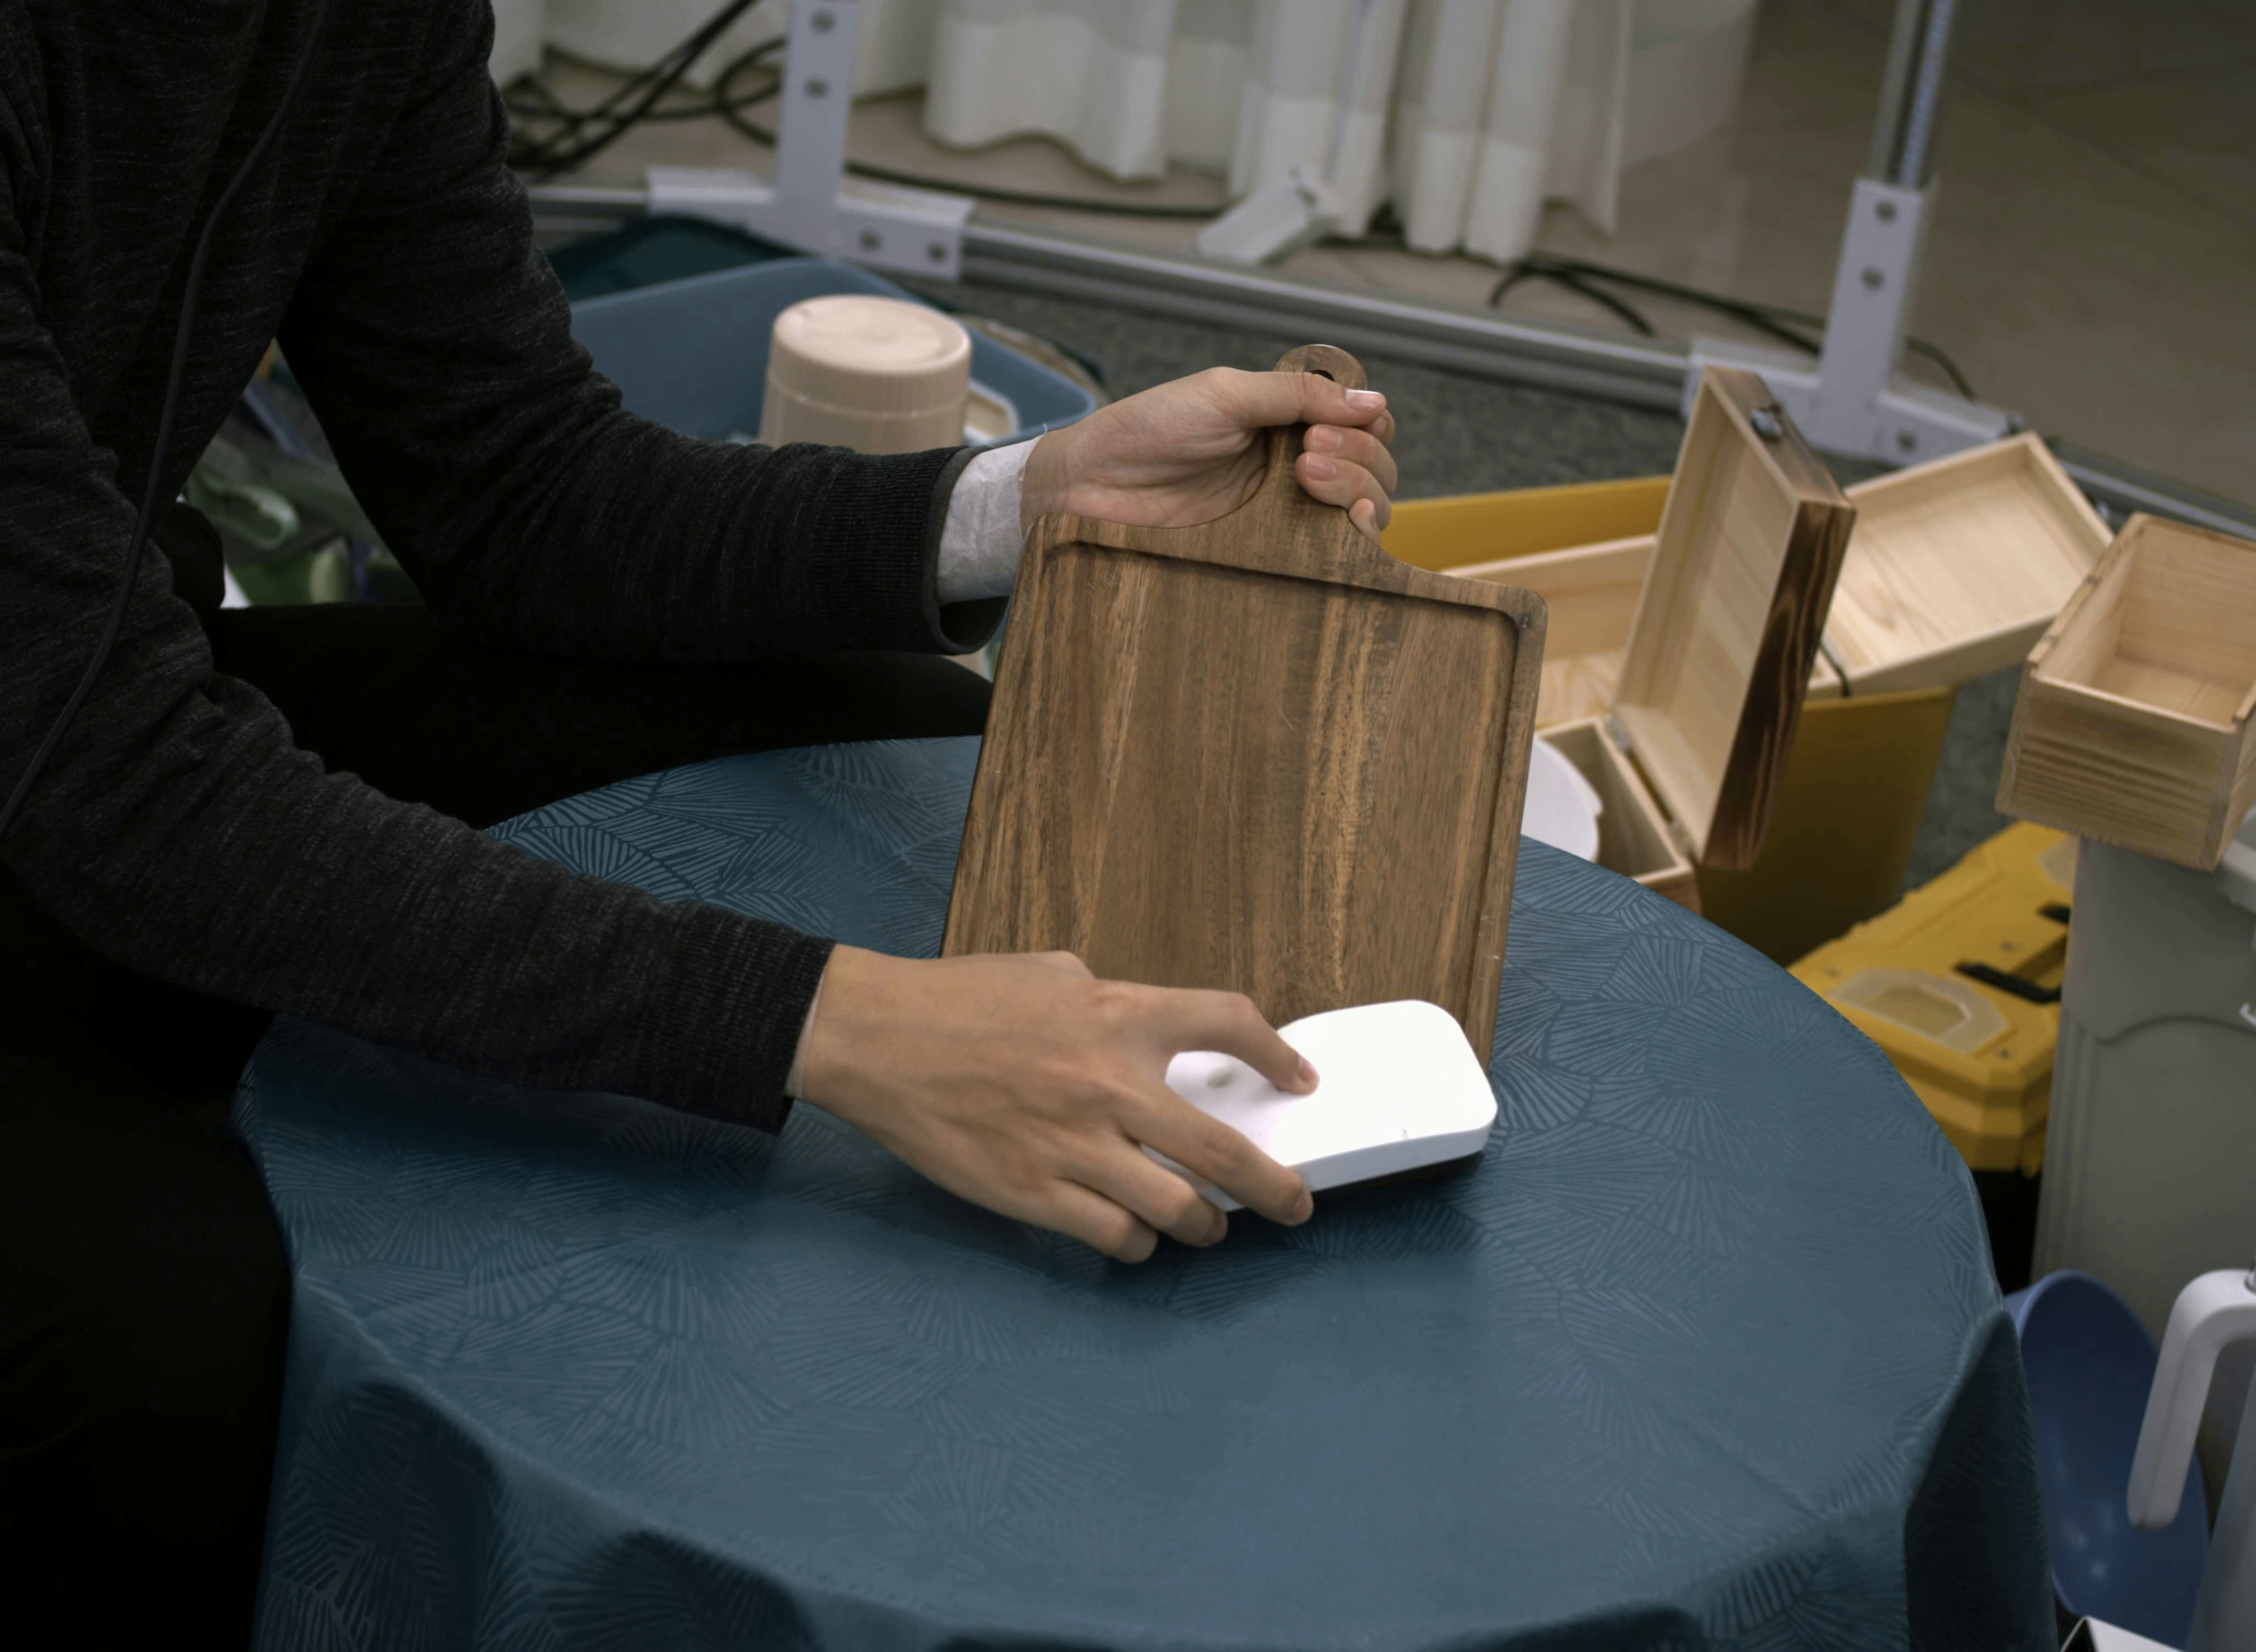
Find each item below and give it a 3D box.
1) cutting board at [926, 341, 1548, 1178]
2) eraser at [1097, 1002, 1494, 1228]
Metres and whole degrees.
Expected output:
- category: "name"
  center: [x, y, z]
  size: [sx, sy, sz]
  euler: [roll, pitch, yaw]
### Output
- category: "cutting board"
  center: [0.049, -0.037, 1.928]
  size: [0.200, 0.023, 0.354]
  euler: [9, 54, 2]
- category: "eraser"
  center: [0.056, 0.096, 1.802]
  size: [0.130, 0.034, 0.064]
  euler: [-10, 48, -15]
